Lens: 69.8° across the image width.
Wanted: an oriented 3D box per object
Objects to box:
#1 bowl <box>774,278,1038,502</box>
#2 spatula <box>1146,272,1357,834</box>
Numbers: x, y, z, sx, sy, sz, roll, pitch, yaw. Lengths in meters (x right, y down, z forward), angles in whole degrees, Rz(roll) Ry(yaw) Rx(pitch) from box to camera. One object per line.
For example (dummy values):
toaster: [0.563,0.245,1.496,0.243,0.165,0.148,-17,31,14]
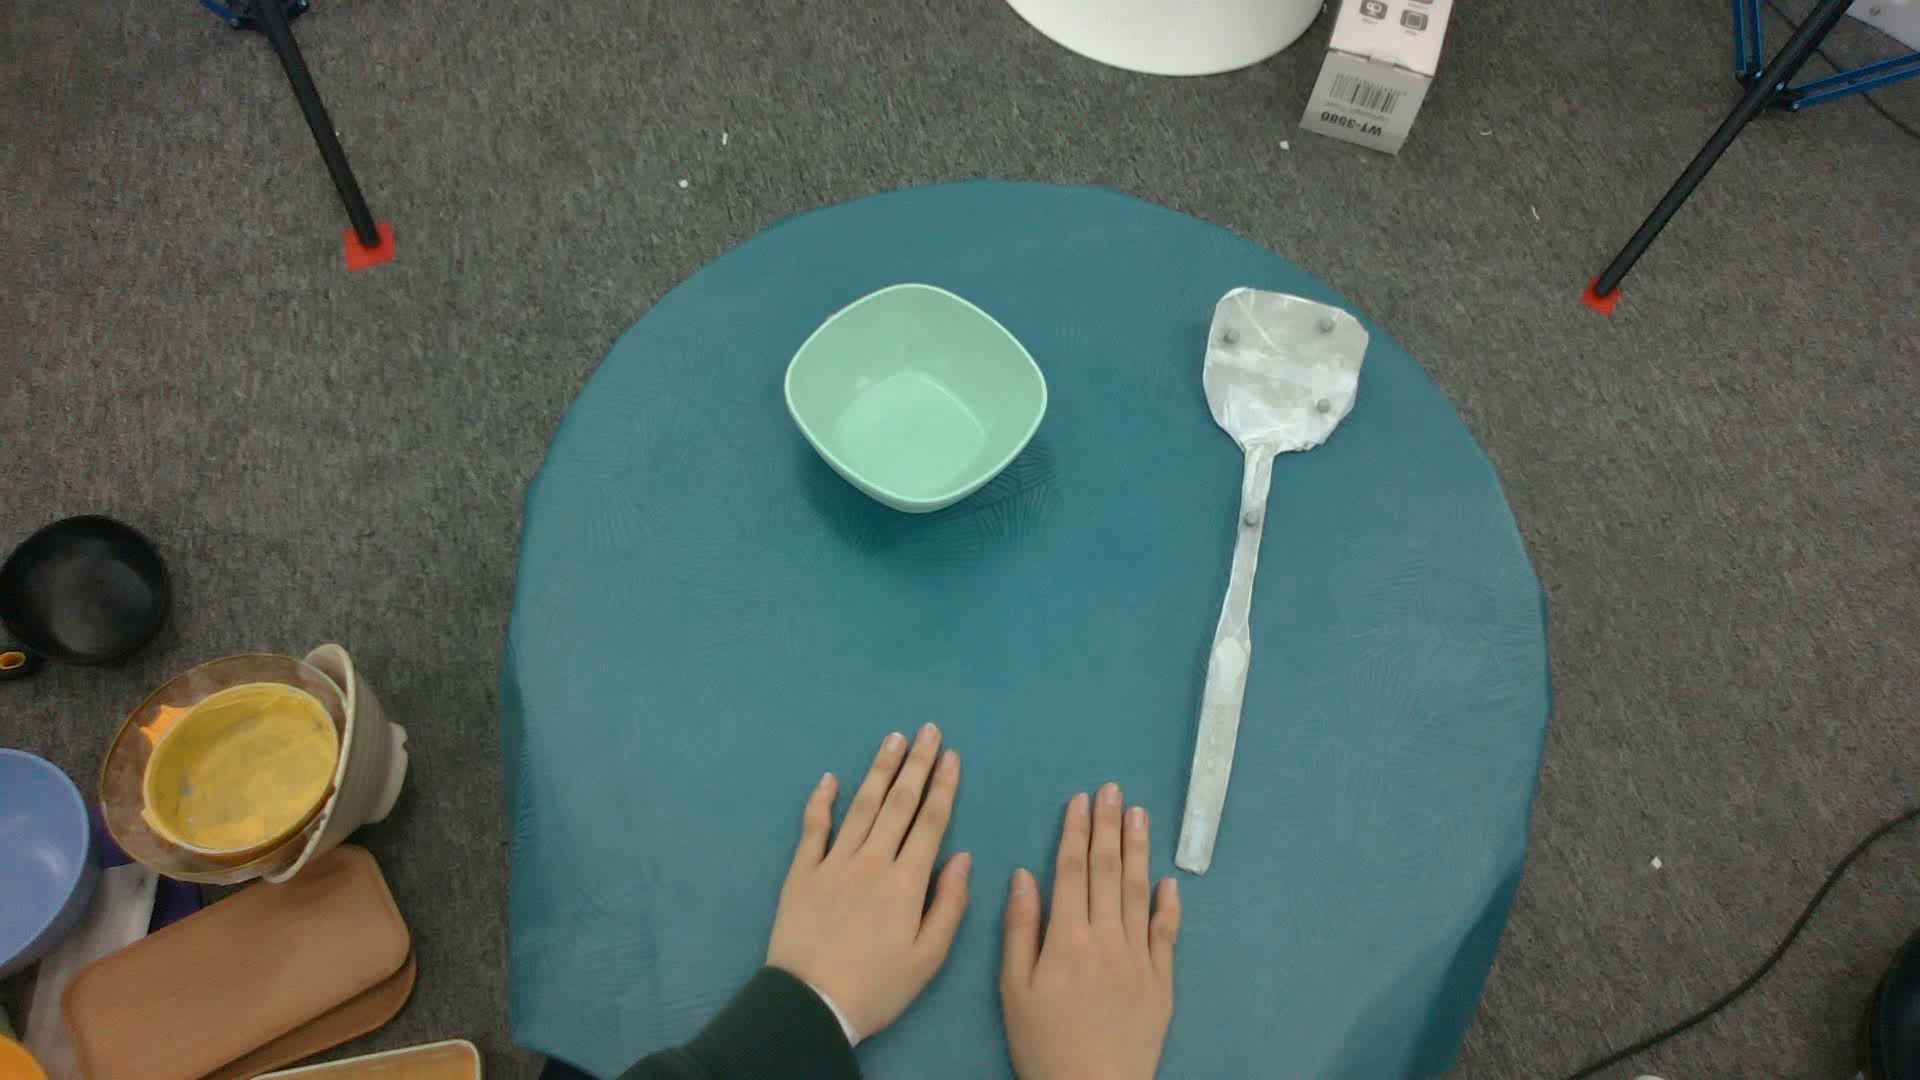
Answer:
bowl: [-0.032,-0.078,0.809,0.151,0.058,0.152,3,59,-5]
spatula: [0.160,-0.002,0.802,0.099,0.044,0.366,17,61,0]
